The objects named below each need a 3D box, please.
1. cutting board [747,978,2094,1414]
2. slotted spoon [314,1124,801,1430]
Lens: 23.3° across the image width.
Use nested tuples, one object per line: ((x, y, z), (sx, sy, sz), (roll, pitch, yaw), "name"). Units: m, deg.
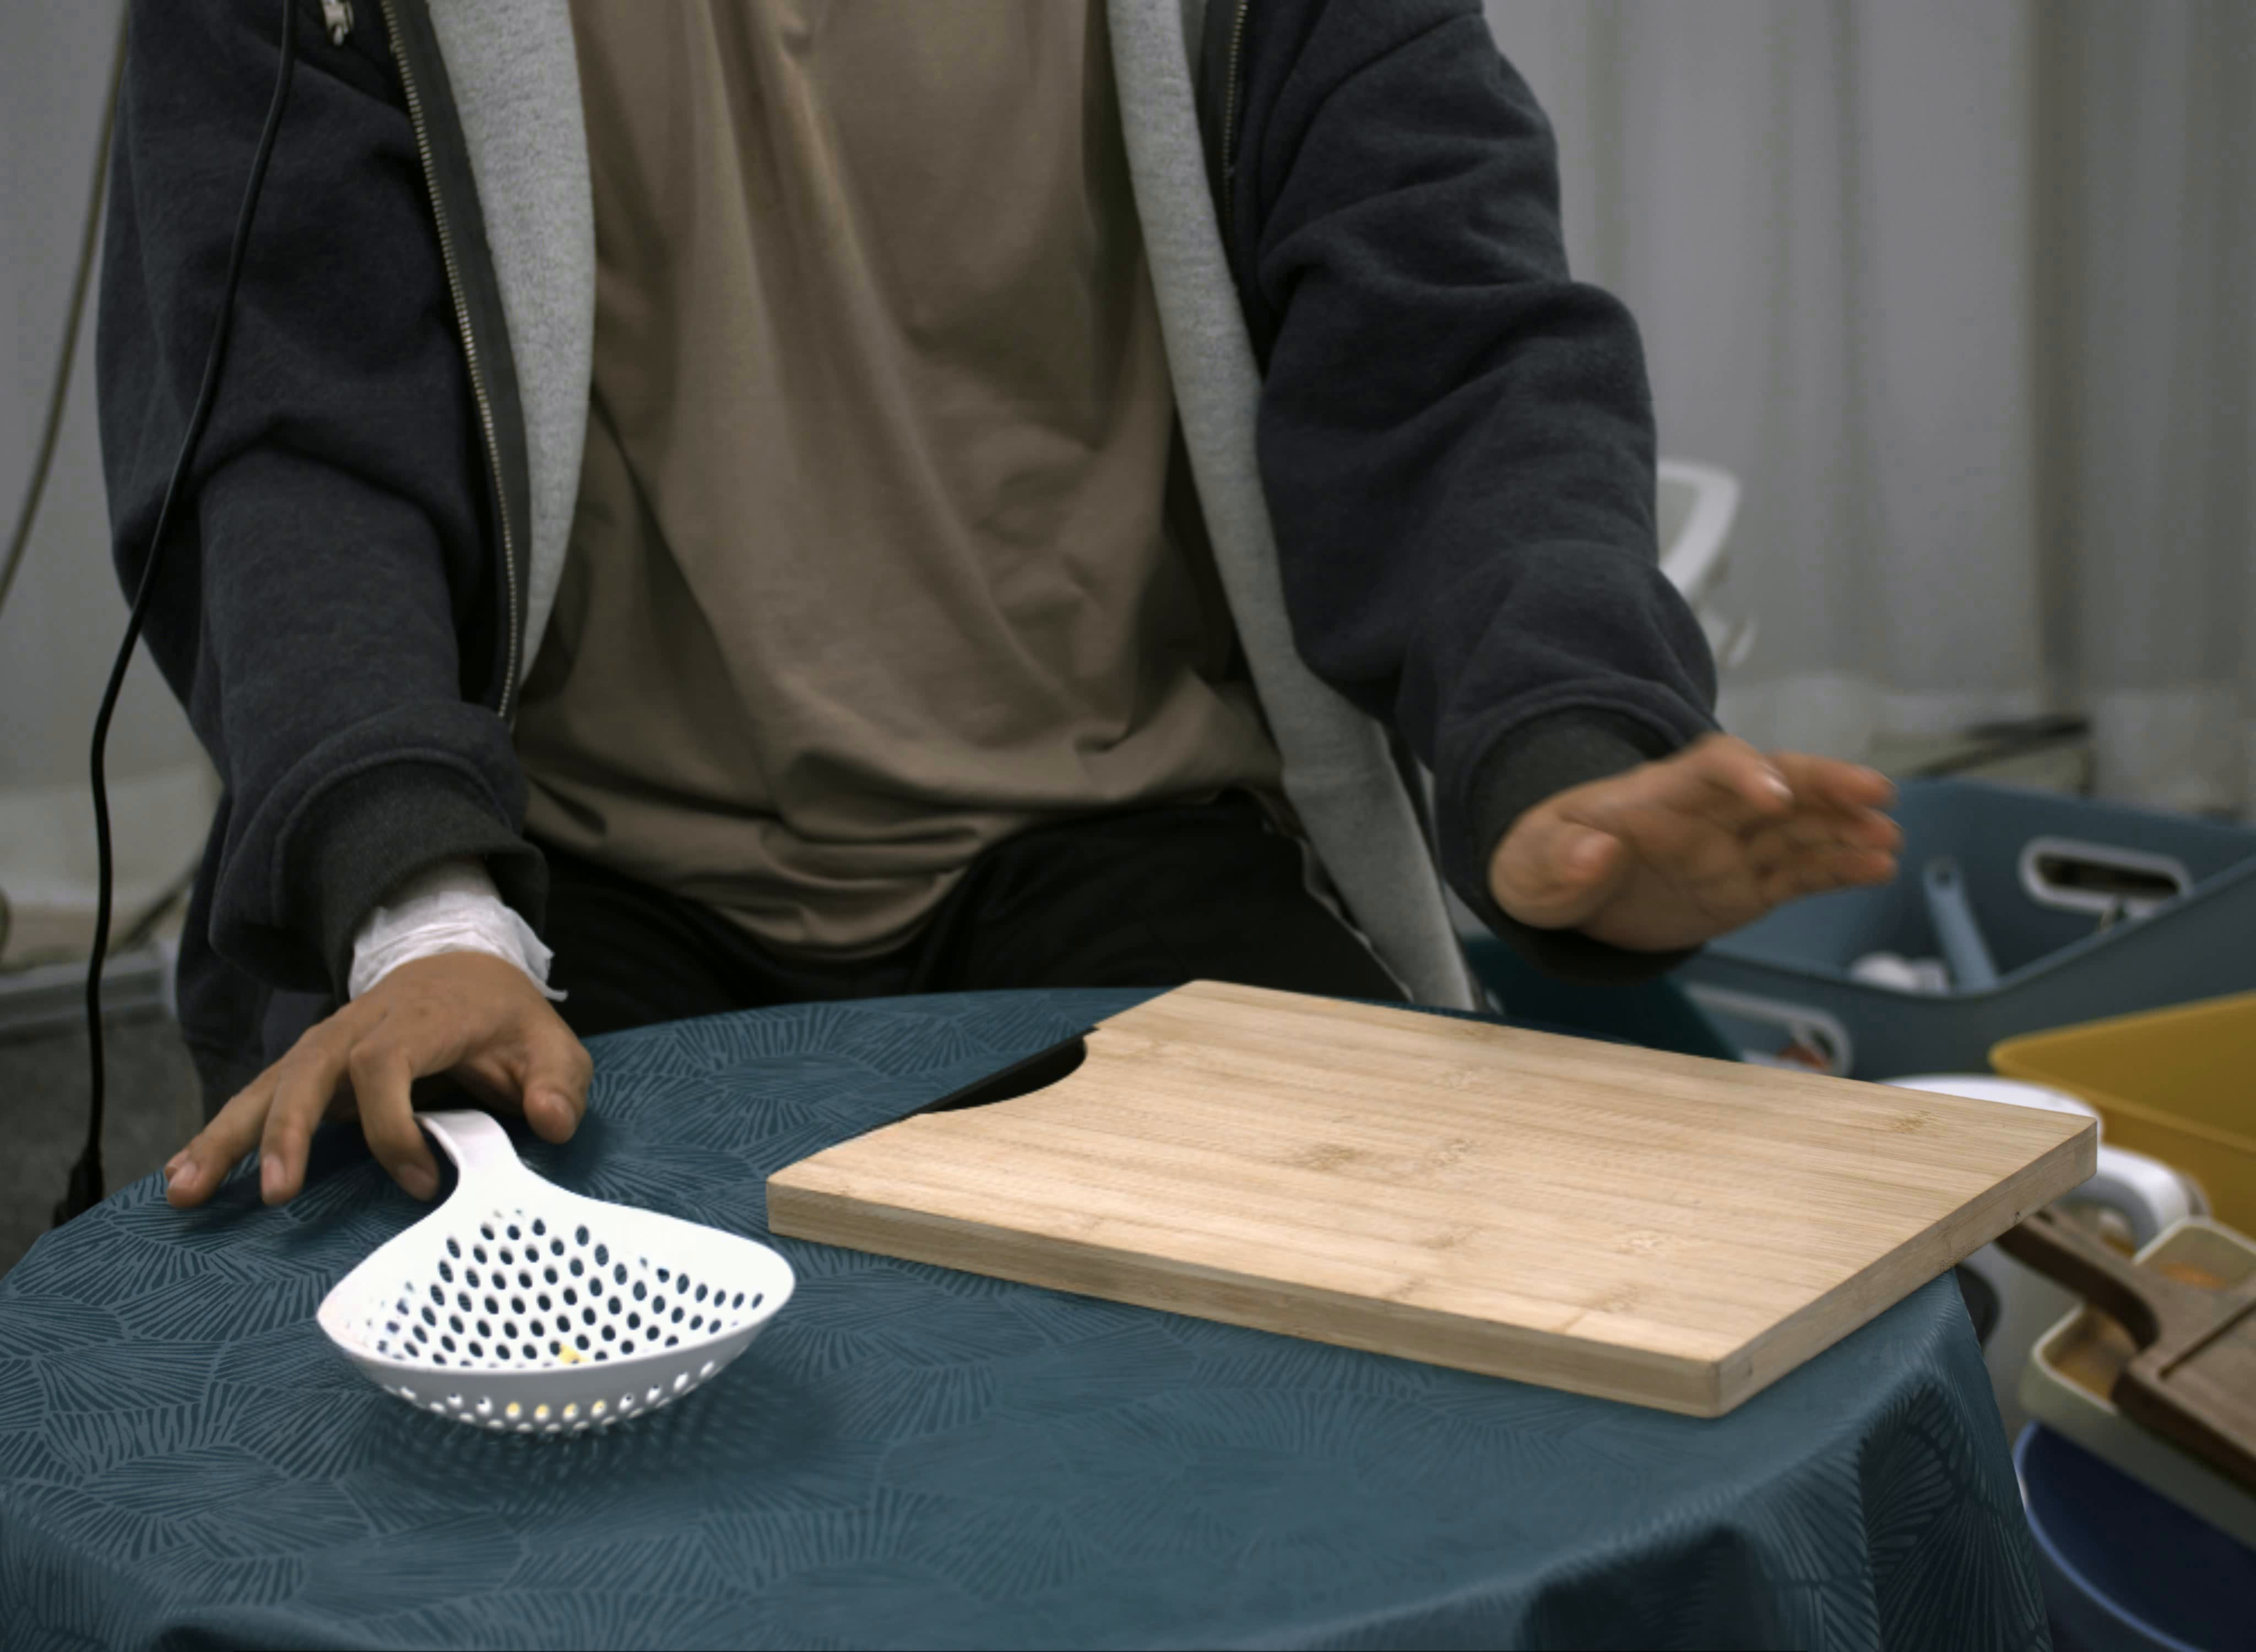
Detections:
((0.089, 0.108, 1.691), (0.350, 0.023, 0.250), (7, 18, 34), "cutting board")
((-0.189, 0.121, 1.647), (0.136, 0.050, 0.351), (-8, 16, -14), "slotted spoon")
